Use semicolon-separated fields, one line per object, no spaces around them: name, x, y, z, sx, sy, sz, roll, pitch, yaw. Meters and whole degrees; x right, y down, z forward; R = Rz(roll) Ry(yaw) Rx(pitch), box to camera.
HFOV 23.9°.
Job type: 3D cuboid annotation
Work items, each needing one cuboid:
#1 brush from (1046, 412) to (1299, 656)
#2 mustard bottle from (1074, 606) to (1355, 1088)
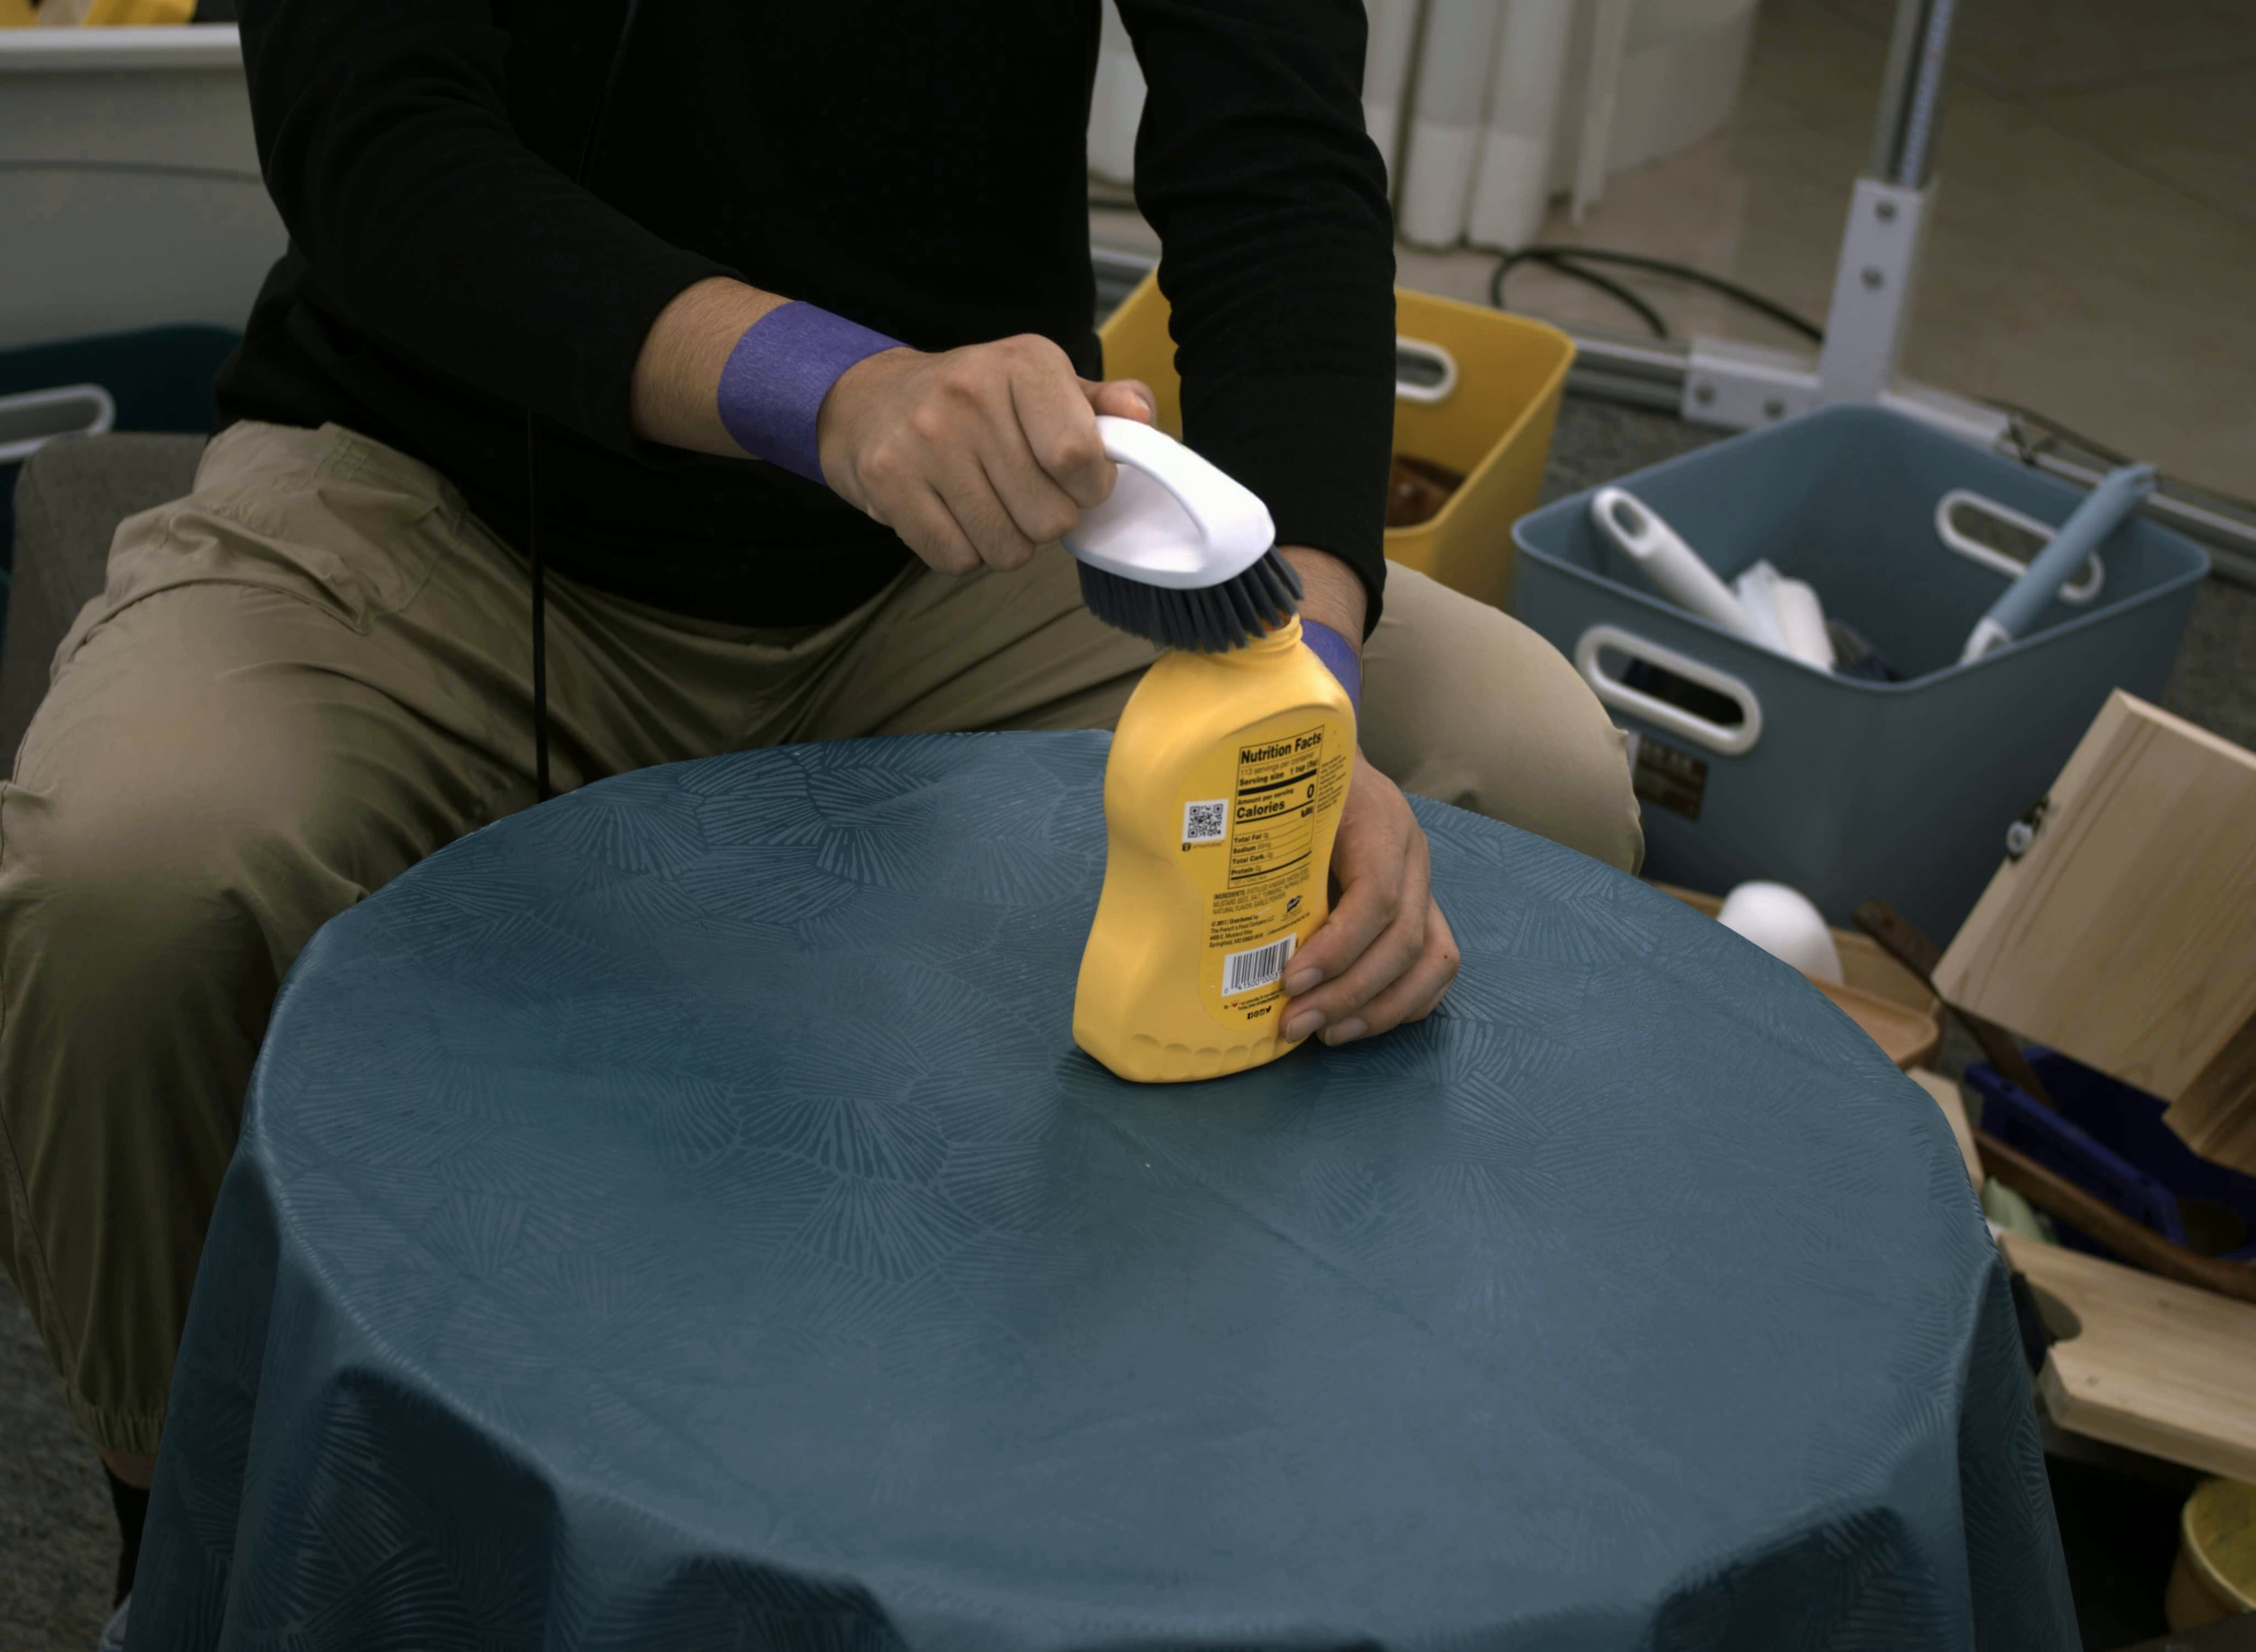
brush;0.008;-0.107;1.815;0.050;0.072;0.100;-38;33;-20
mustard bottle;0.032;0.003;1.860;0.097;0.171;0.060;-16;31;-35
